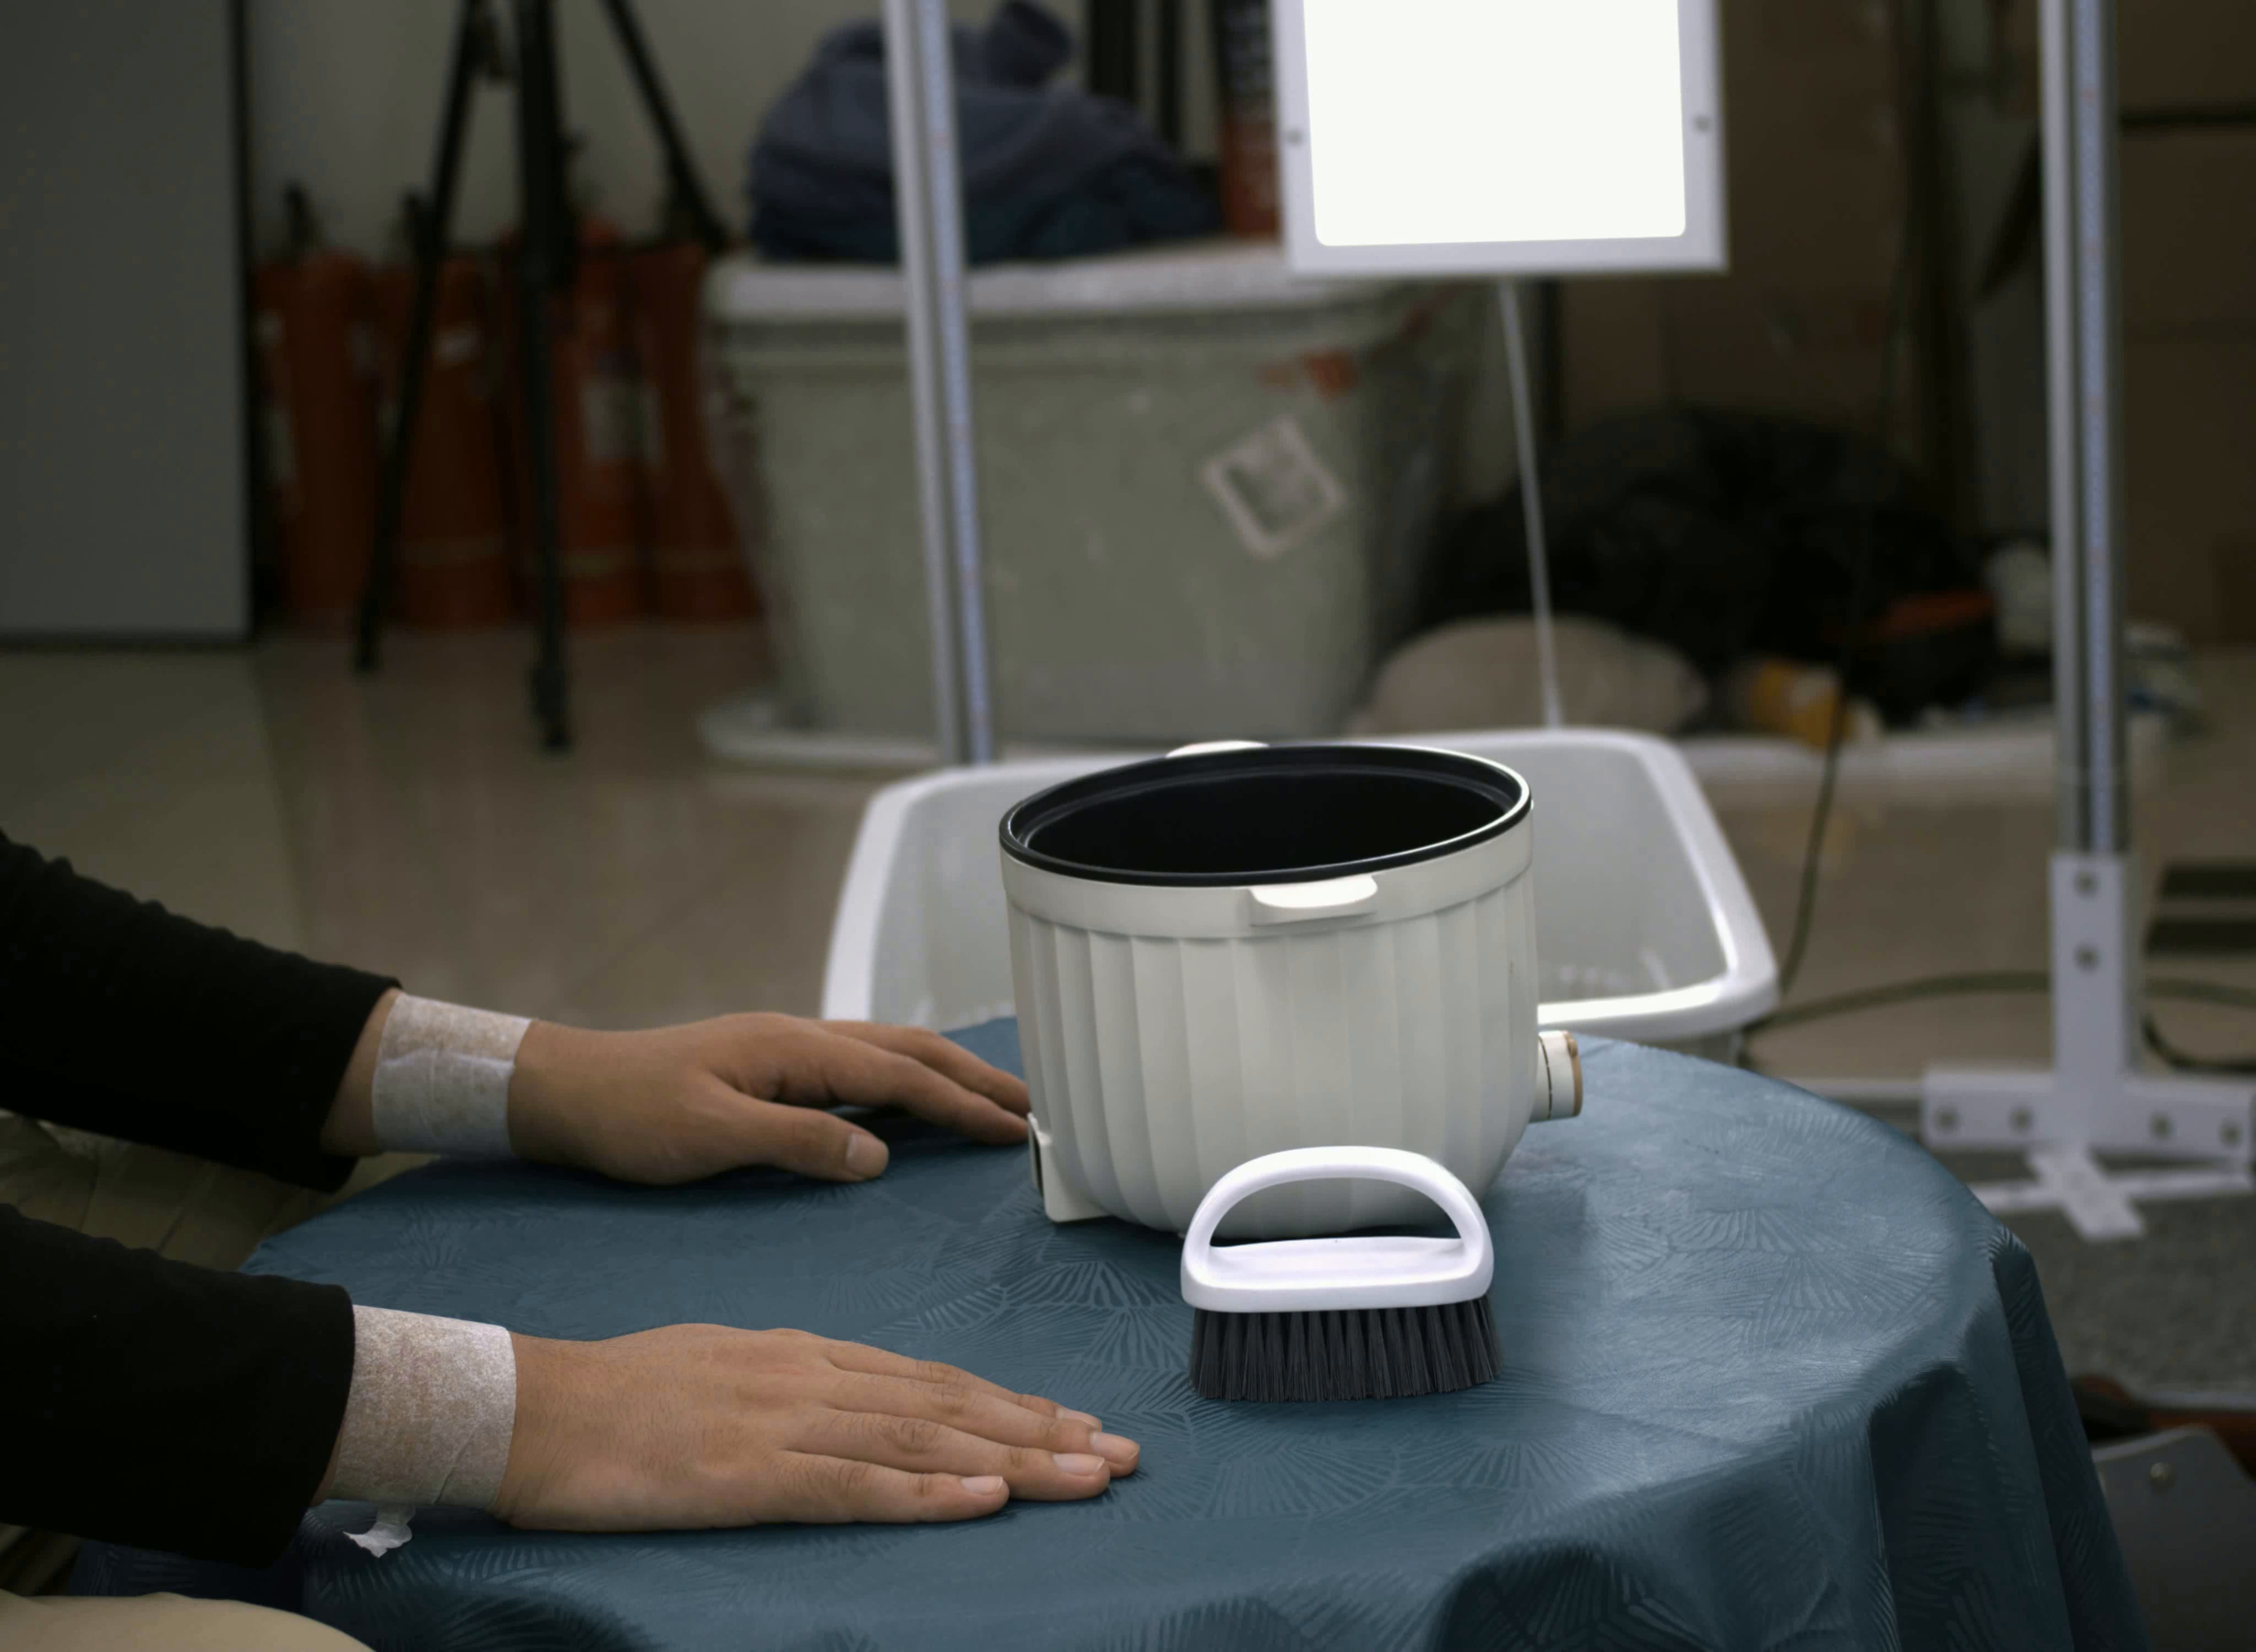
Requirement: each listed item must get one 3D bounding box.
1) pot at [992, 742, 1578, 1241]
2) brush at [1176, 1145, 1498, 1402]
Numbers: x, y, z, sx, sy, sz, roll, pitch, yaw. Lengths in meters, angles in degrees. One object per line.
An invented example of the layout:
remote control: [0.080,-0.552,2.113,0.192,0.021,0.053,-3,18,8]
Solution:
pot: [0.055,0.057,1.872,0.189,0.143,0.241,-9,15,-6]
brush: [0.063,0.134,1.690,0.099,0.073,0.050,-3,13,9]
